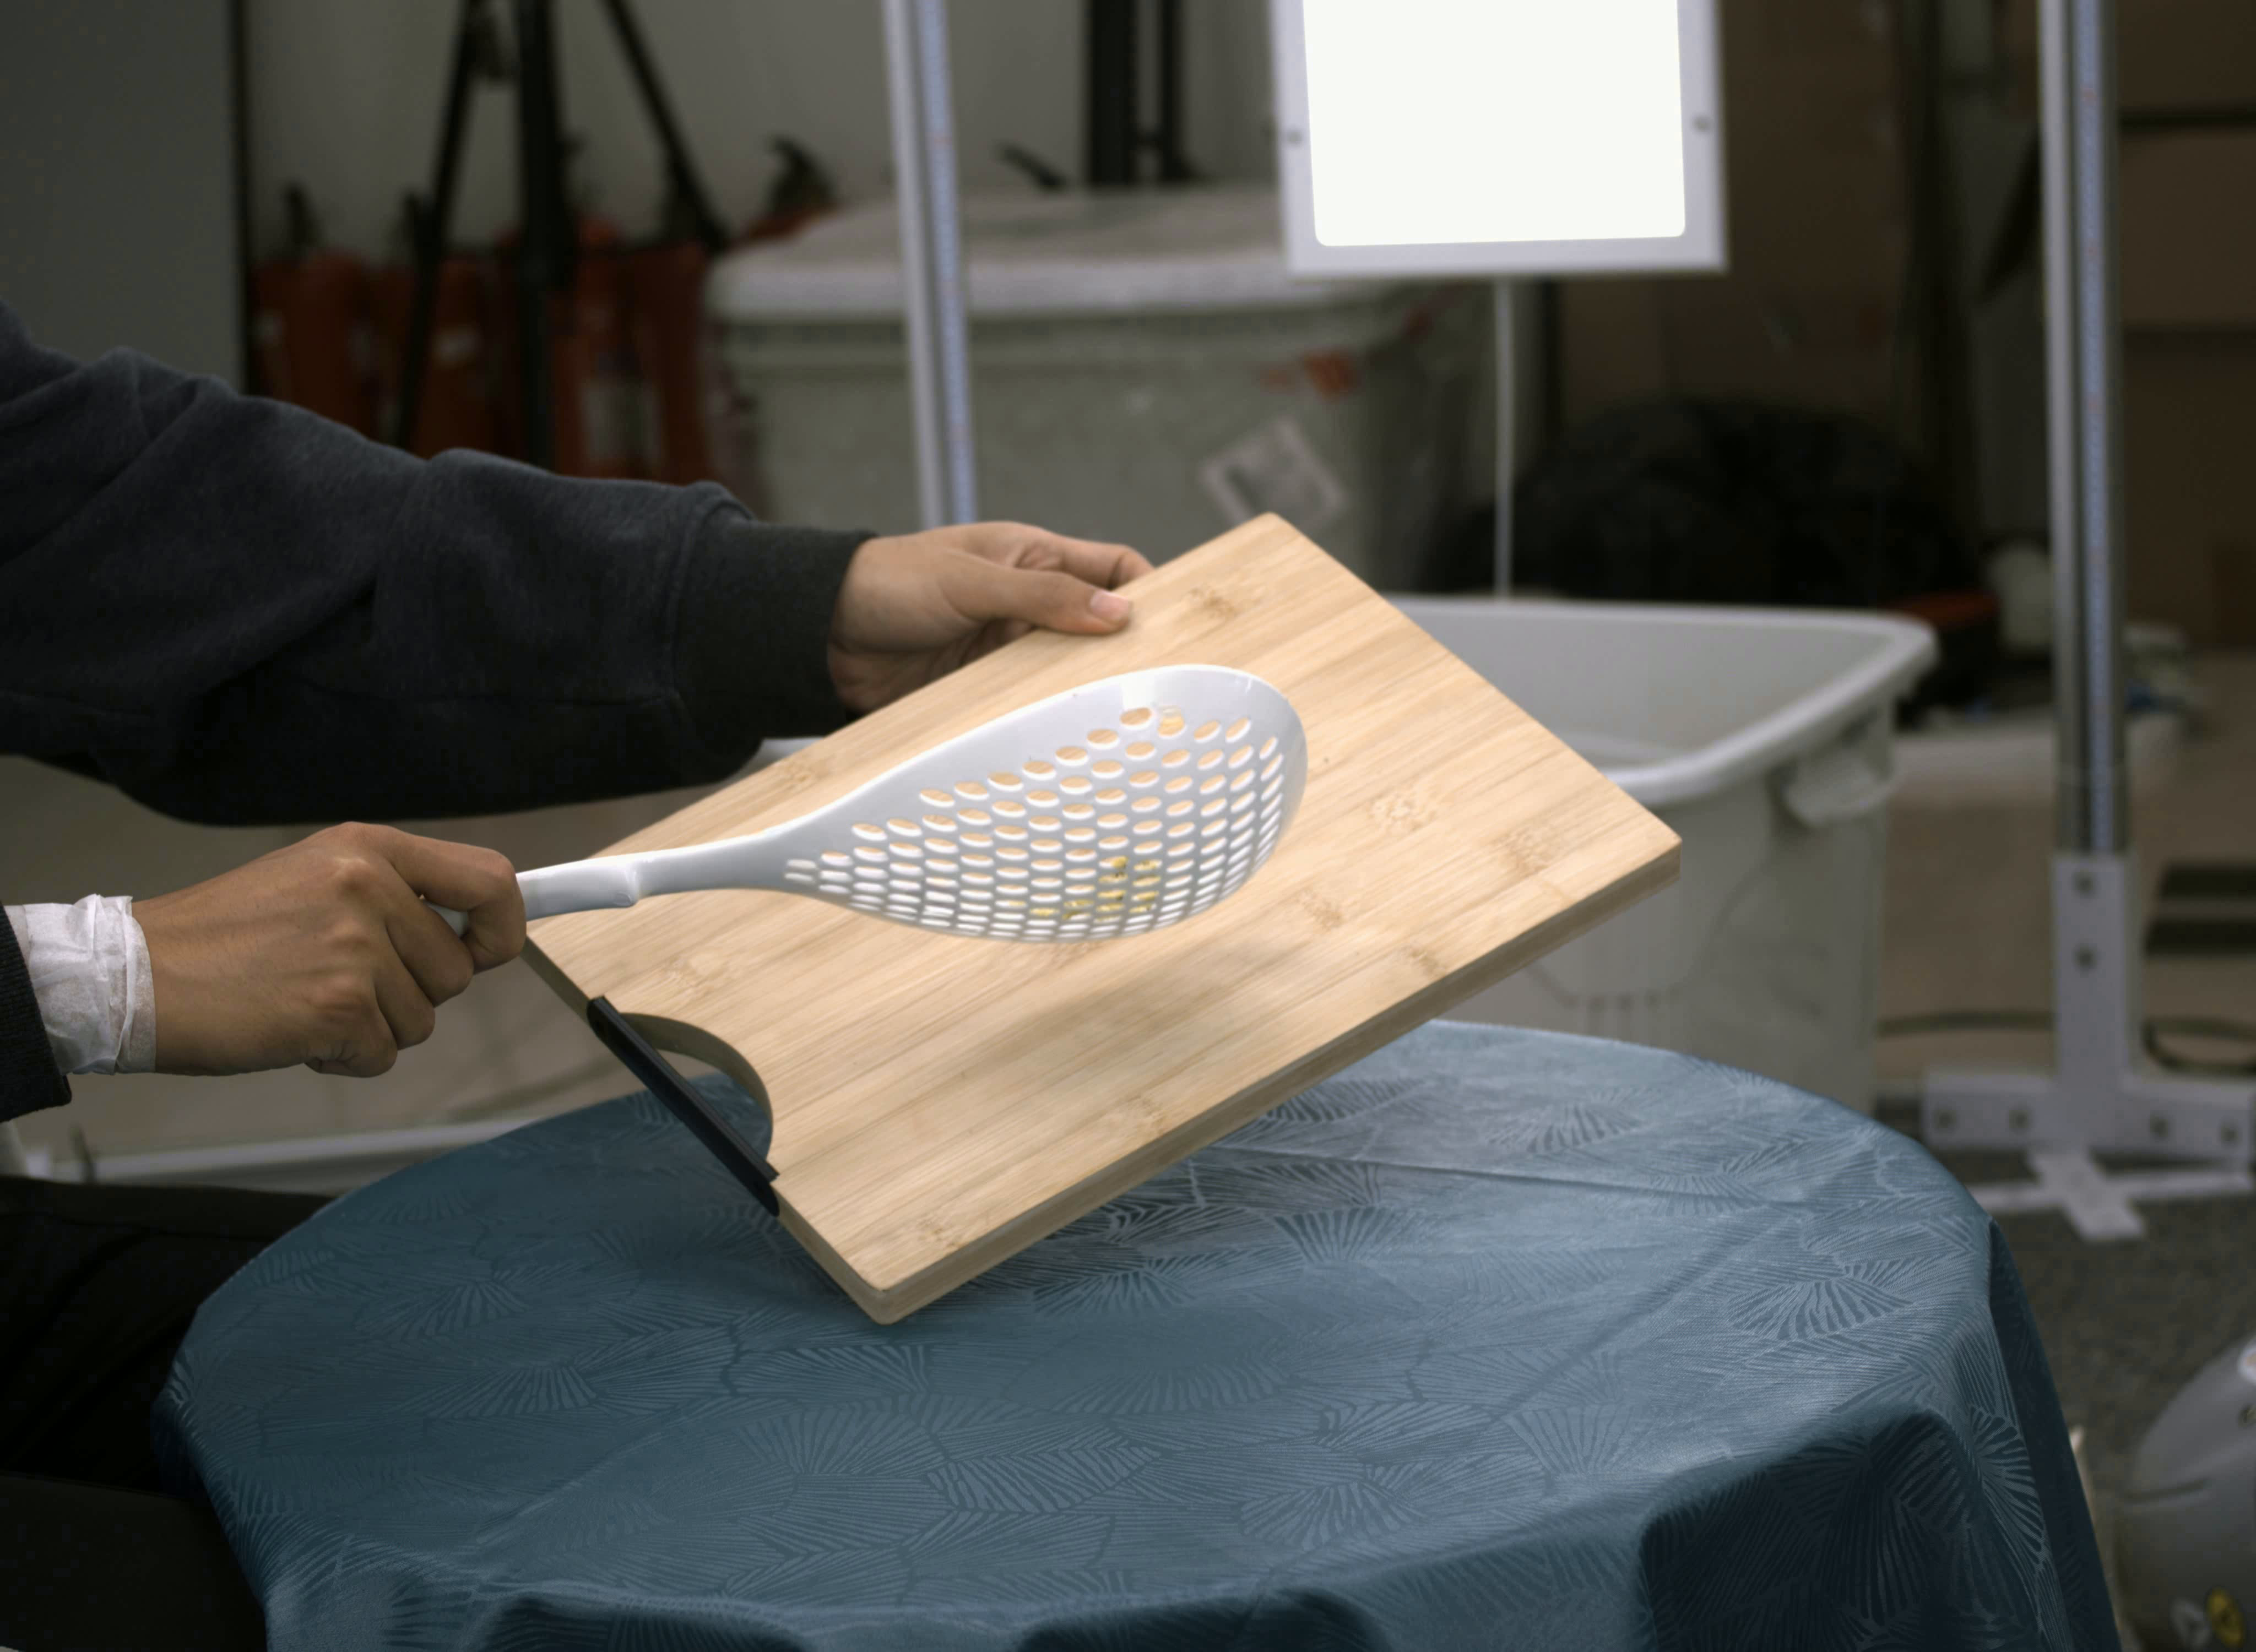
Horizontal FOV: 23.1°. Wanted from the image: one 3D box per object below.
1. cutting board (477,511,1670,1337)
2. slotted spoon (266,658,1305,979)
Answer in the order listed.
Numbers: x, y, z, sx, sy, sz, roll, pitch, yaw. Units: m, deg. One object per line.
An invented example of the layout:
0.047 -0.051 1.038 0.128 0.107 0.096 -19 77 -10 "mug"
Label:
-0.017 0.025 1.914 0.342 0.023 0.254 -29 46 -22 "cutting board"
-0.107 0.016 1.783 0.344 0.138 0.050 -5 54 -9 "slotted spoon"
